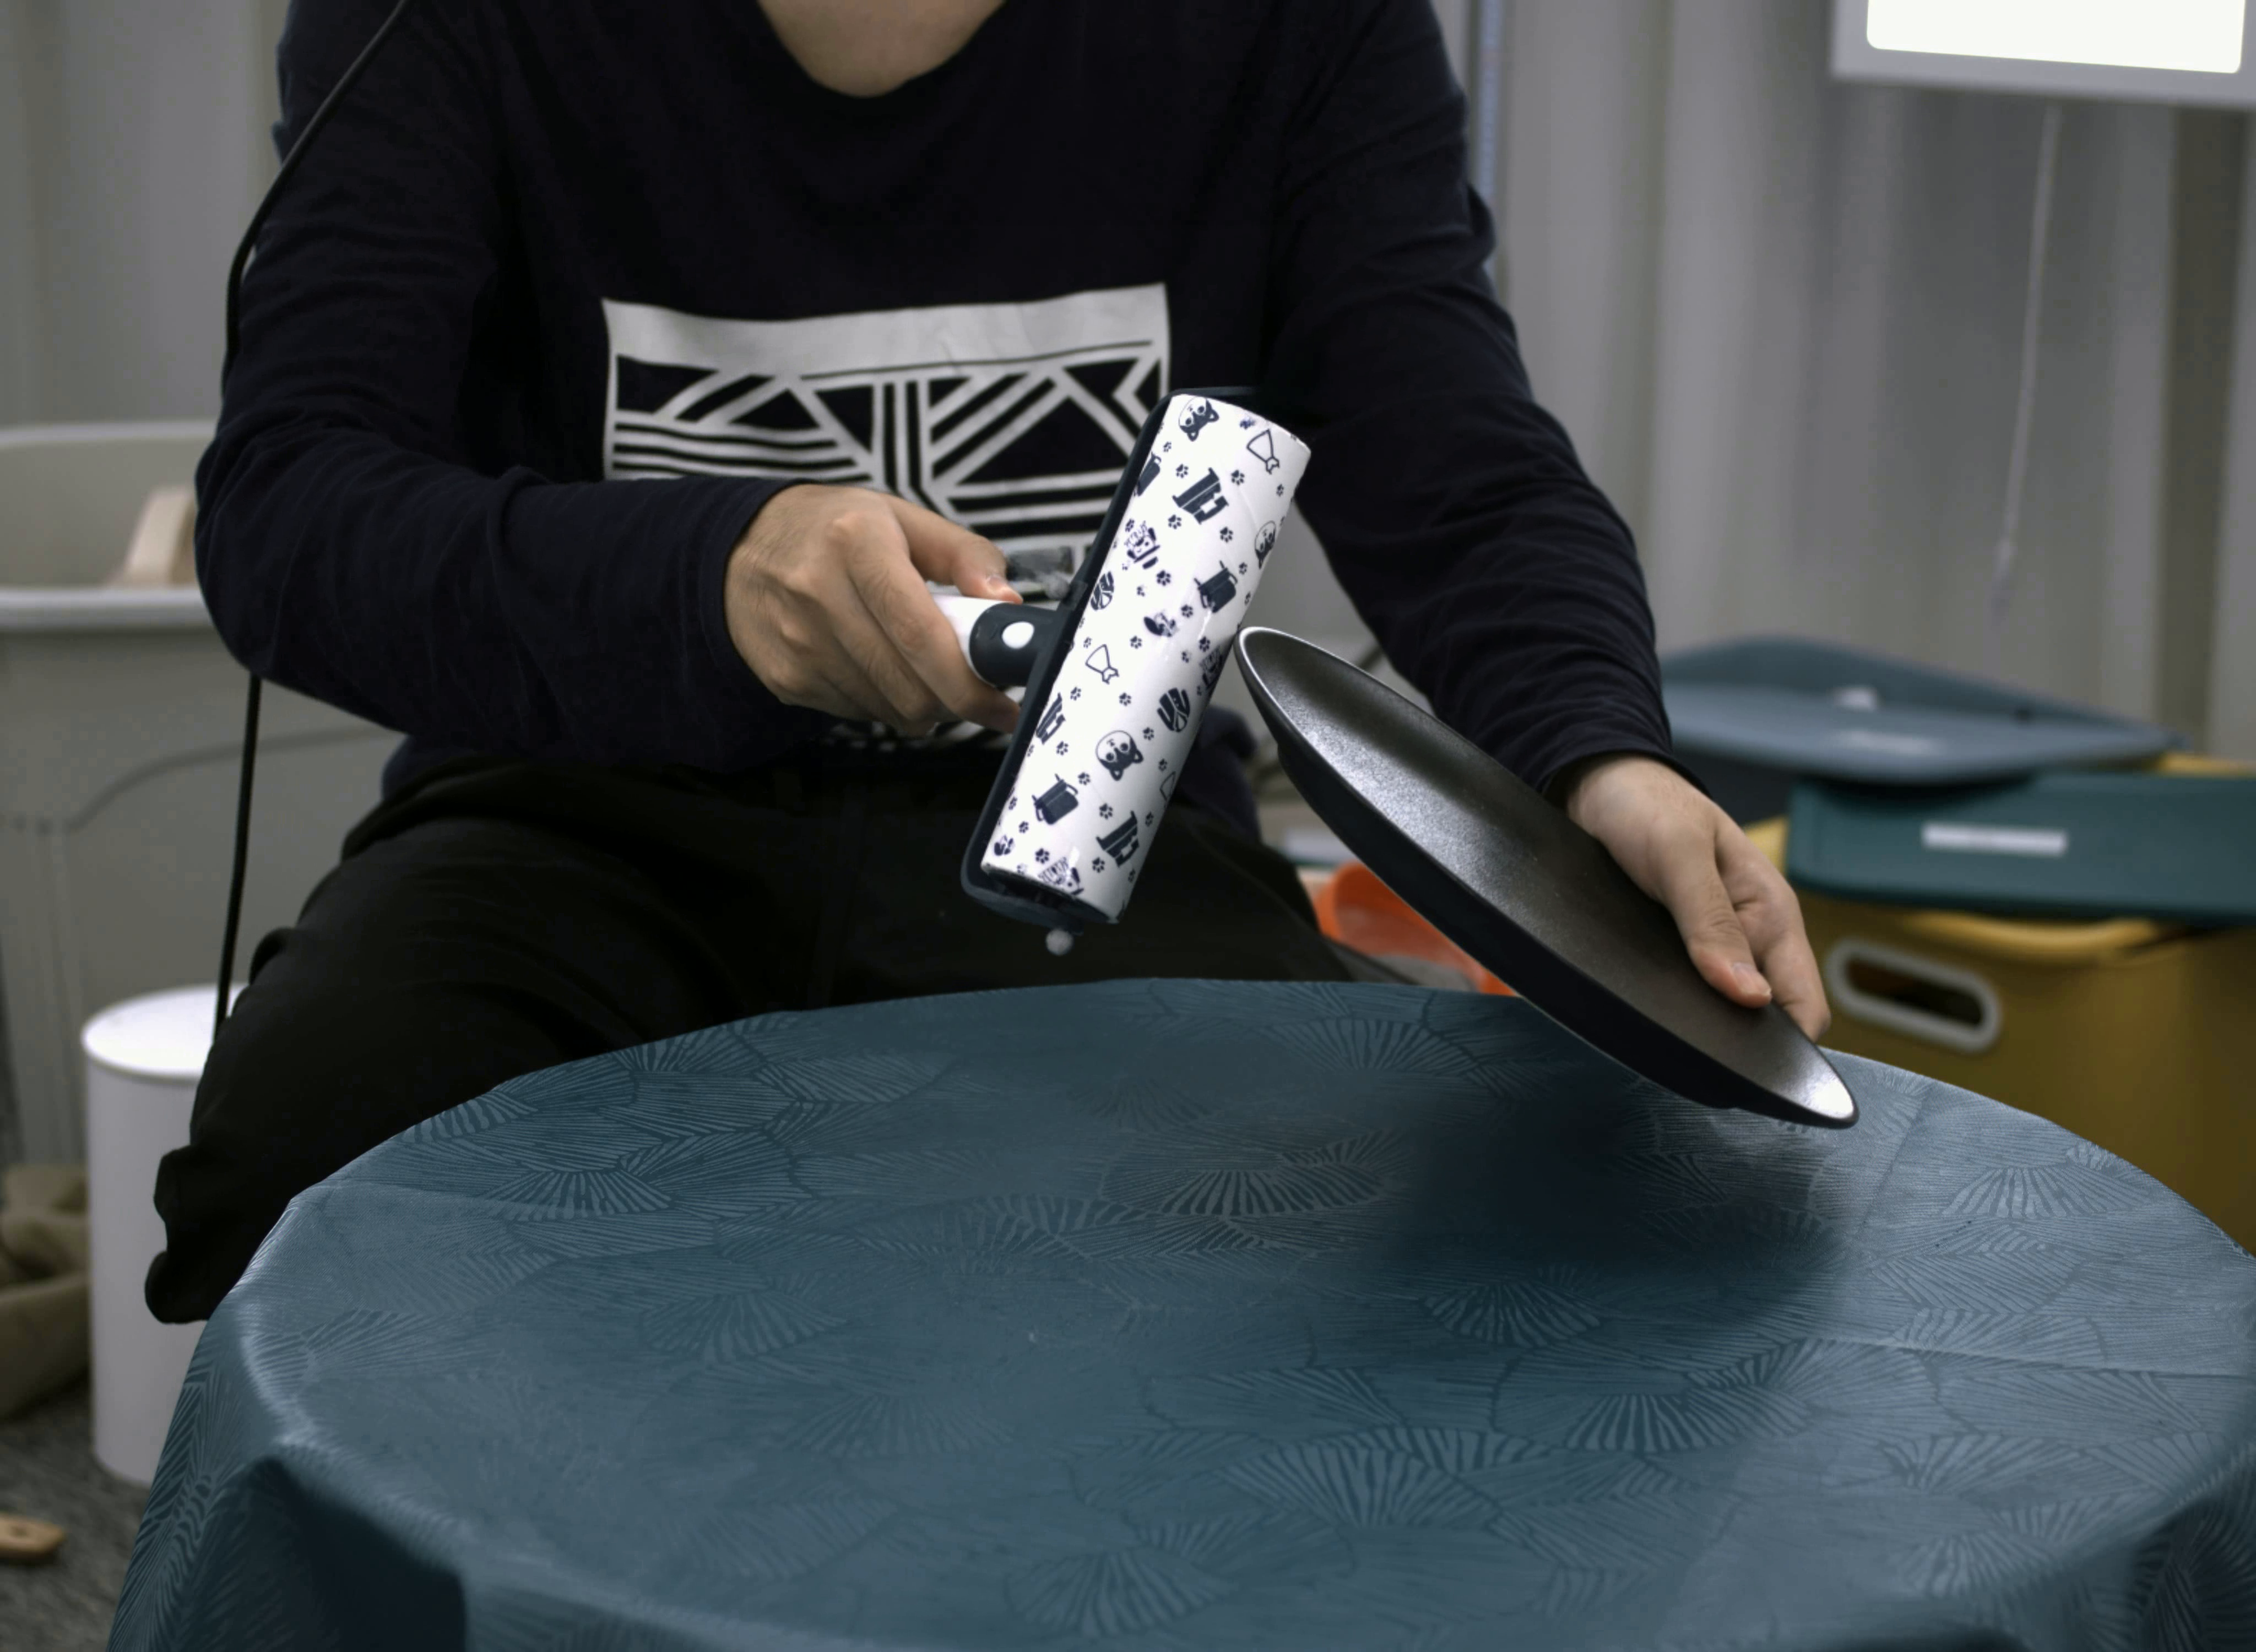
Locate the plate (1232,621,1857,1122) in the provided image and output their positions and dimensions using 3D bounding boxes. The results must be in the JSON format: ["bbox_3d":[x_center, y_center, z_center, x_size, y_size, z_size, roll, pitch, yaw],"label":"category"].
[{"bbox_3d":[0.124,0.020,1.629,0.245,0.023,0.243,36,11,-8],"label":"plate"}]

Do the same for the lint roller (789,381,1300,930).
[{"bbox_3d":[-0.051,-0.063,1.705,0.051,0.176,0.244,26,-8,-33],"label":"lint roller"}]
